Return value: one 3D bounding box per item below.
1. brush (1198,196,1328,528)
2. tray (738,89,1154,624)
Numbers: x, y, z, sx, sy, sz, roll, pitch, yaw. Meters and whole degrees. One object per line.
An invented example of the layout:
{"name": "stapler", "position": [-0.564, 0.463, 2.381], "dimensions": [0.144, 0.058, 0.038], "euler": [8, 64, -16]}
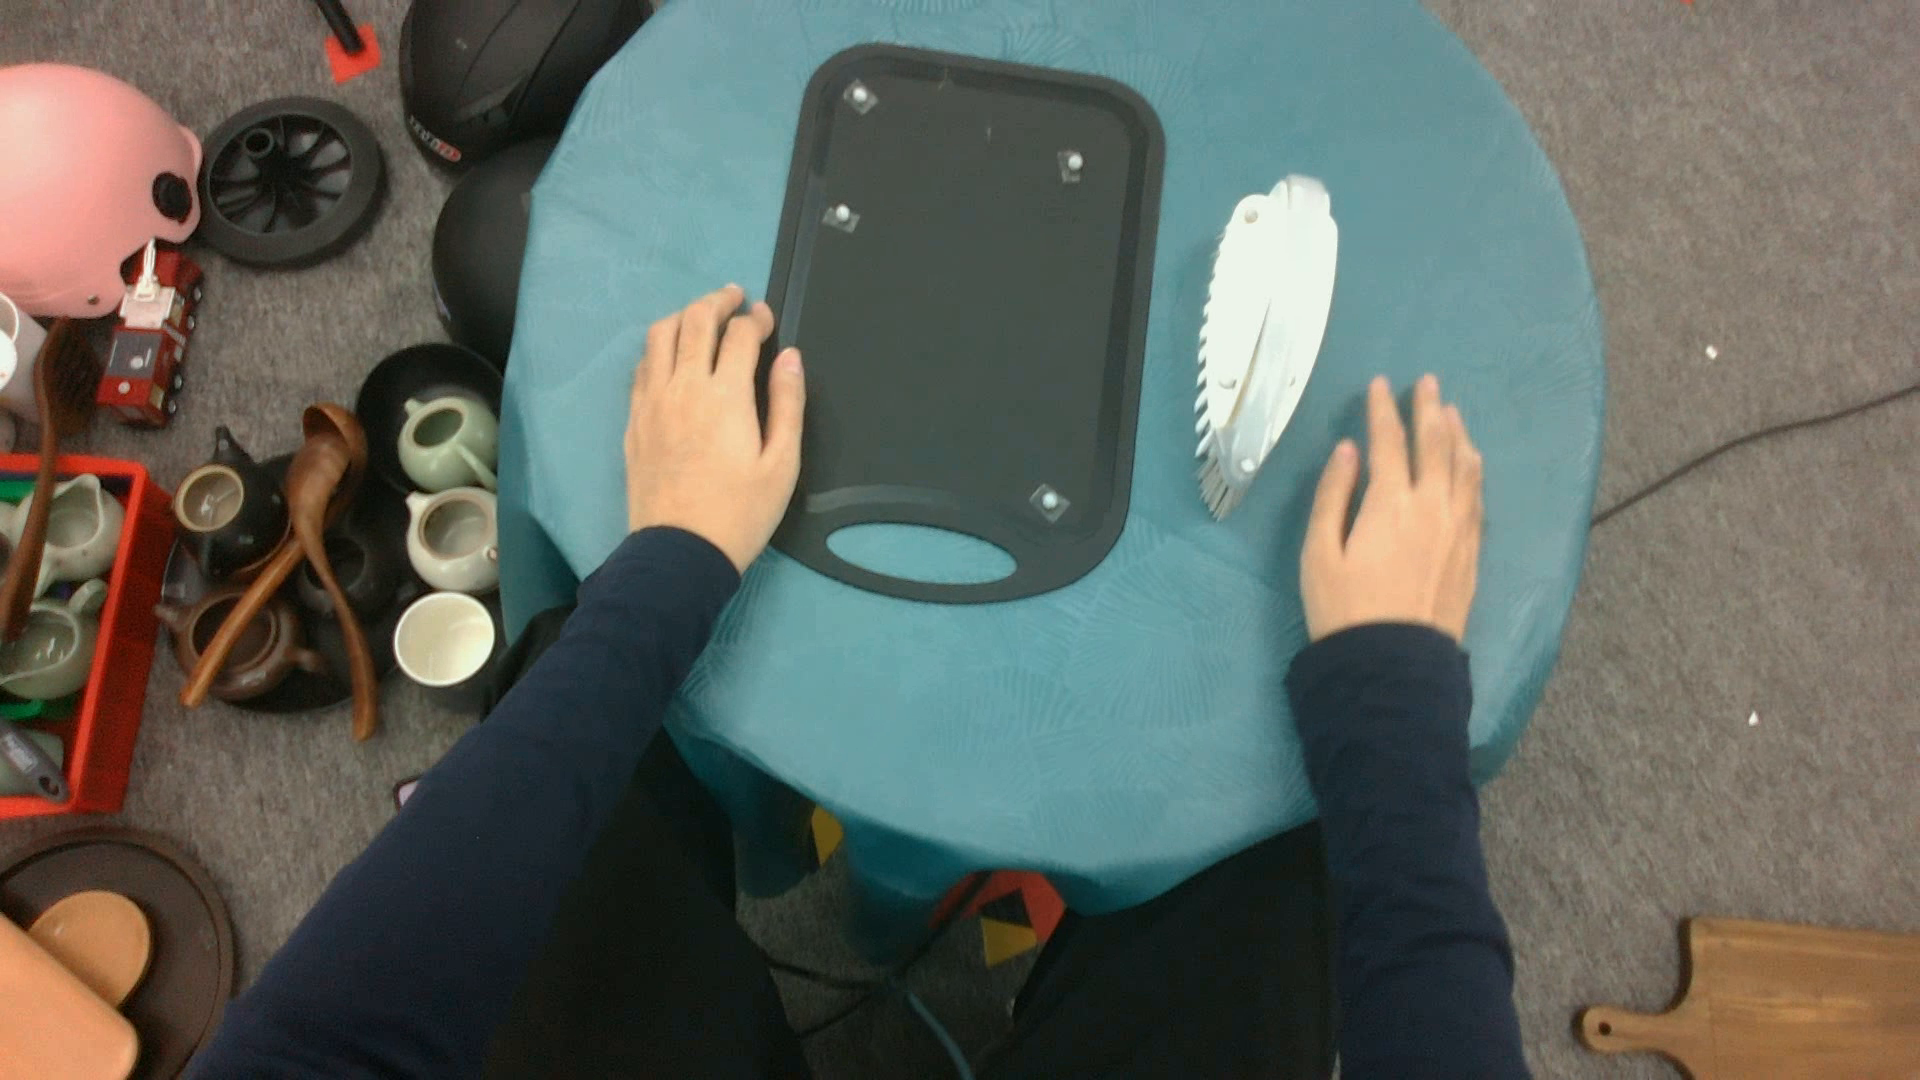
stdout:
{"name": "brush", "position": [0.159, -0.100, 0.727], "dimensions": [0.061, 0.094, 0.176], "euler": [12, 72, 3]}
{"name": "tray", "position": [-0.003, -0.111, 0.768], "dimensions": [0.211, 0.010, 0.326], "euler": [7, 70, 0]}
